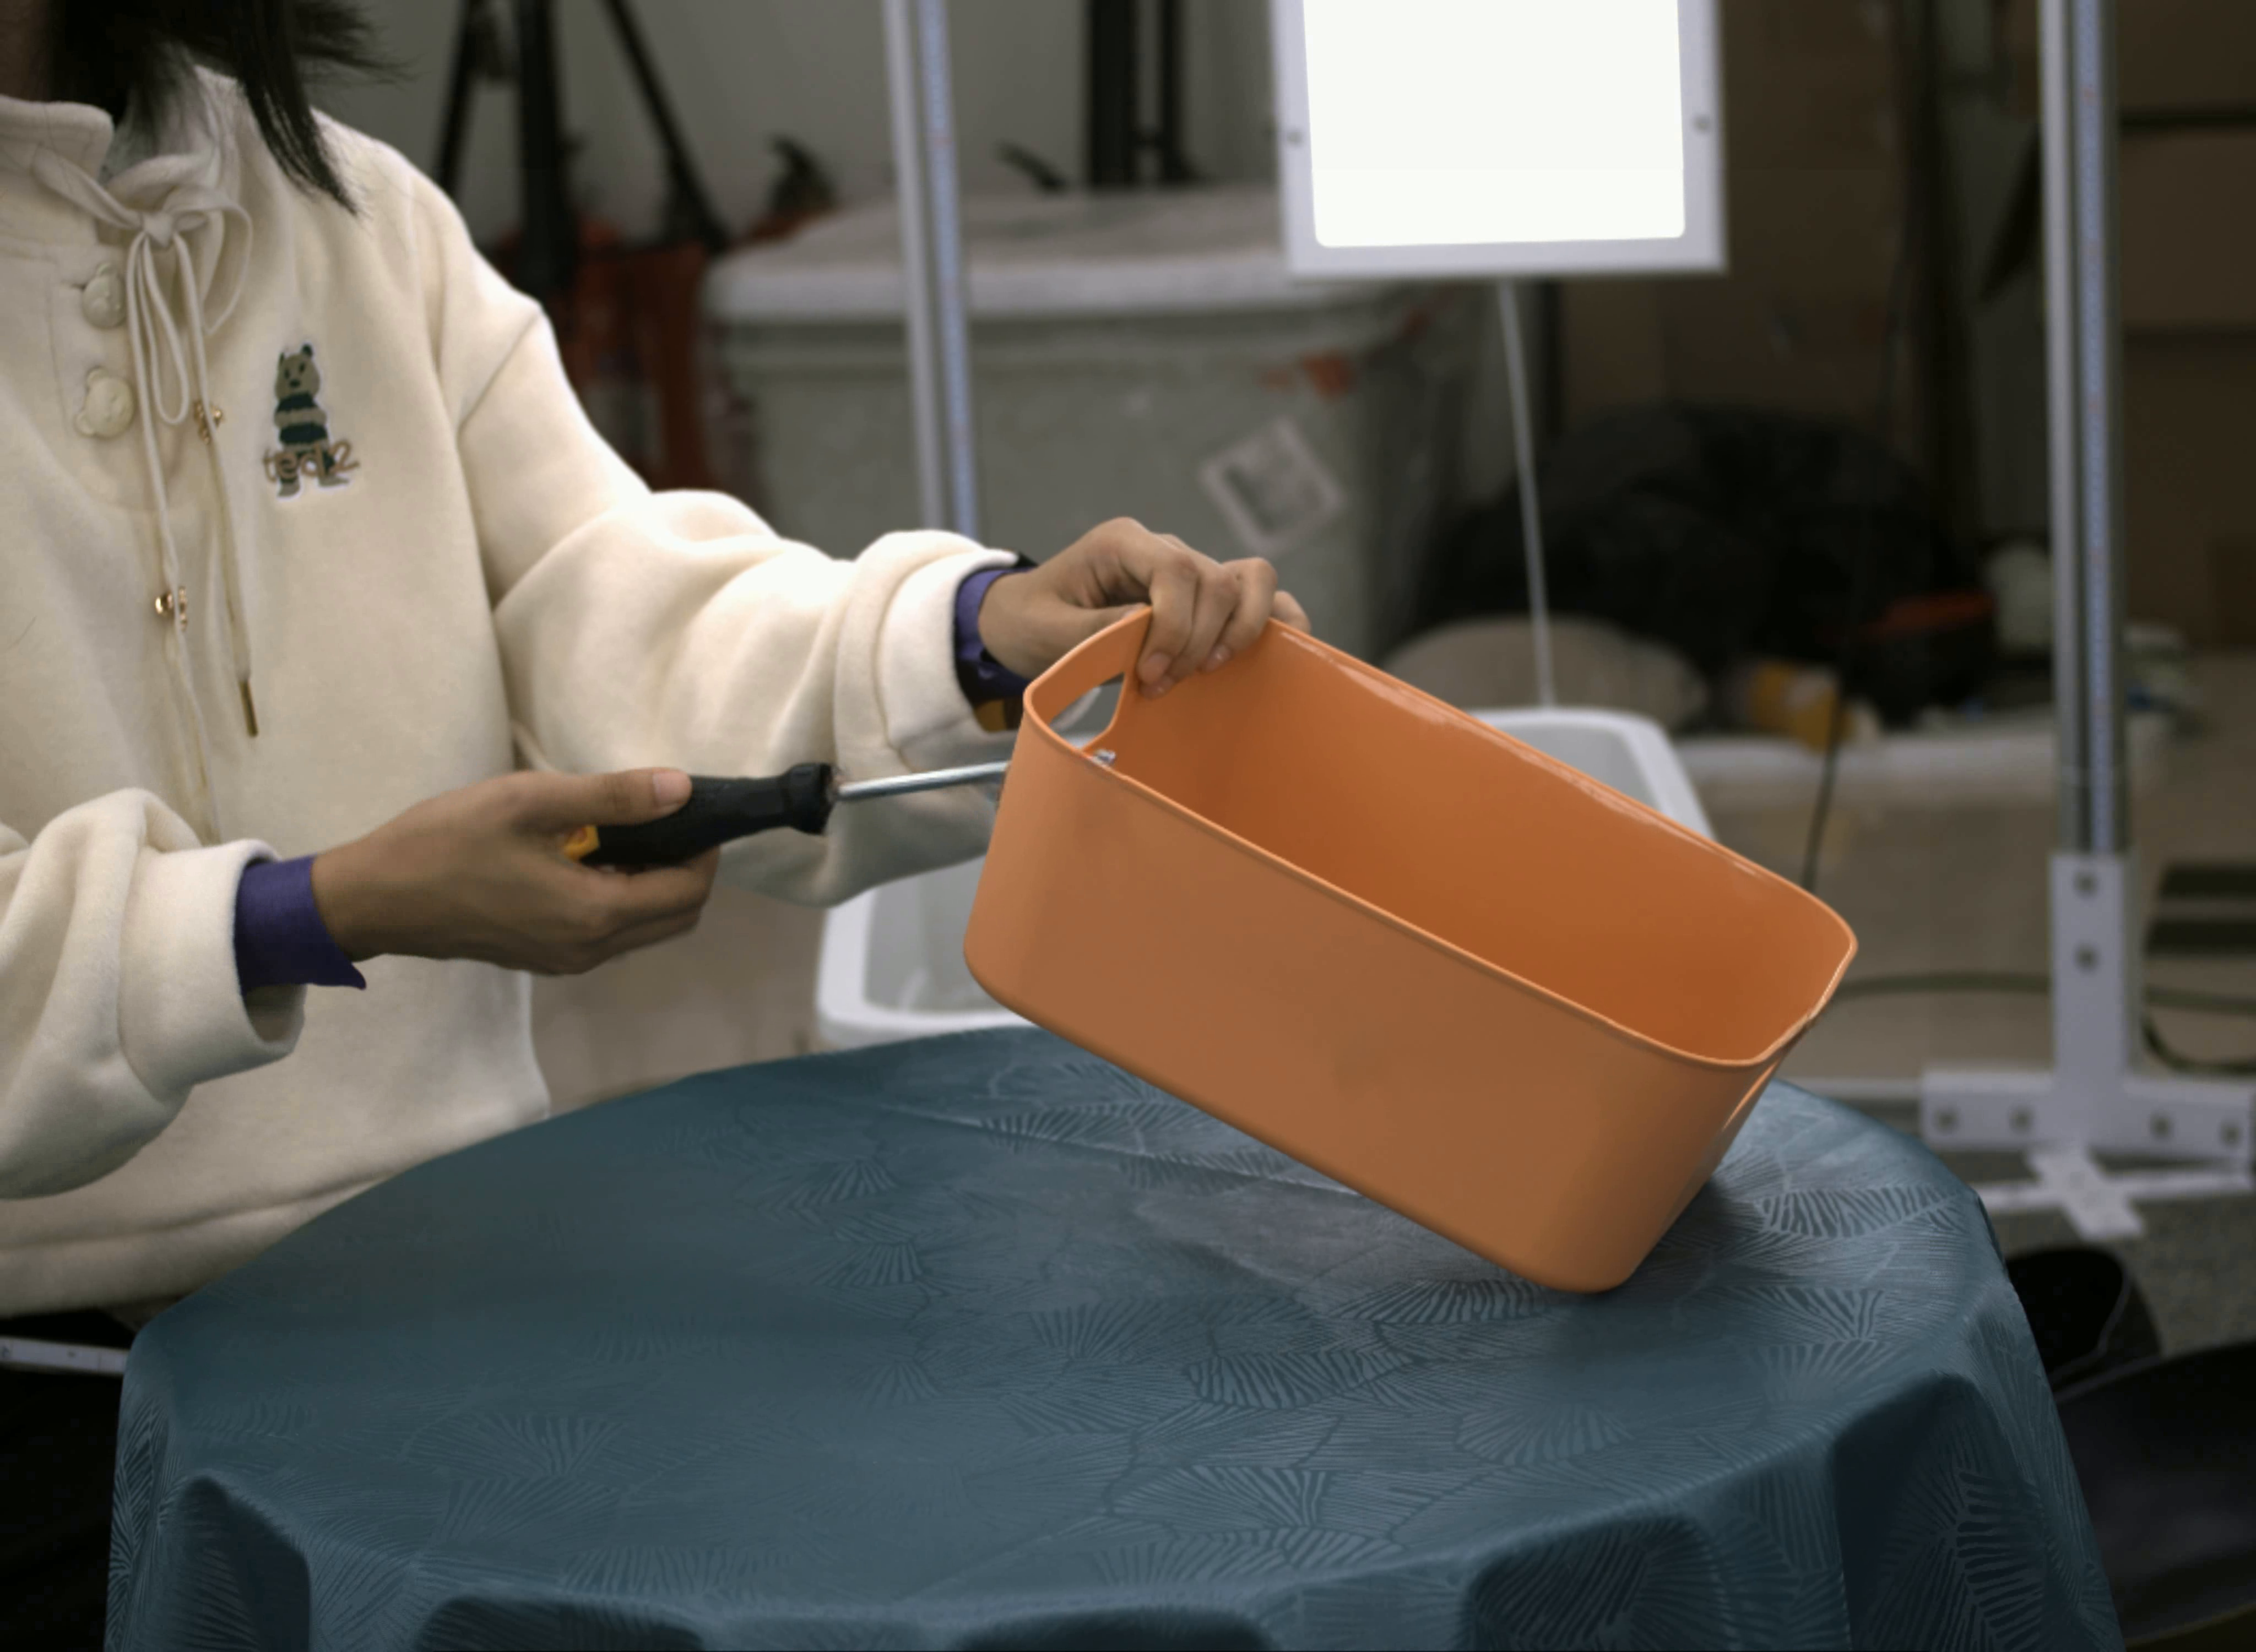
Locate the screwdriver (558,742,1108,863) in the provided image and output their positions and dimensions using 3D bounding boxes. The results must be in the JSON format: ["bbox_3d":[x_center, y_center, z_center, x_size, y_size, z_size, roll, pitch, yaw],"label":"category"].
[{"bbox_3d":[-0.097,-0.012,1.845,0.198,0.031,0.031,-8,12,15],"label":"screwdriver"}]

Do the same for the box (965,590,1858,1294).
[{"bbox_3d":[0.089,0.038,1.817,0.275,0.104,0.196,27,24,13],"label":"box"}]
